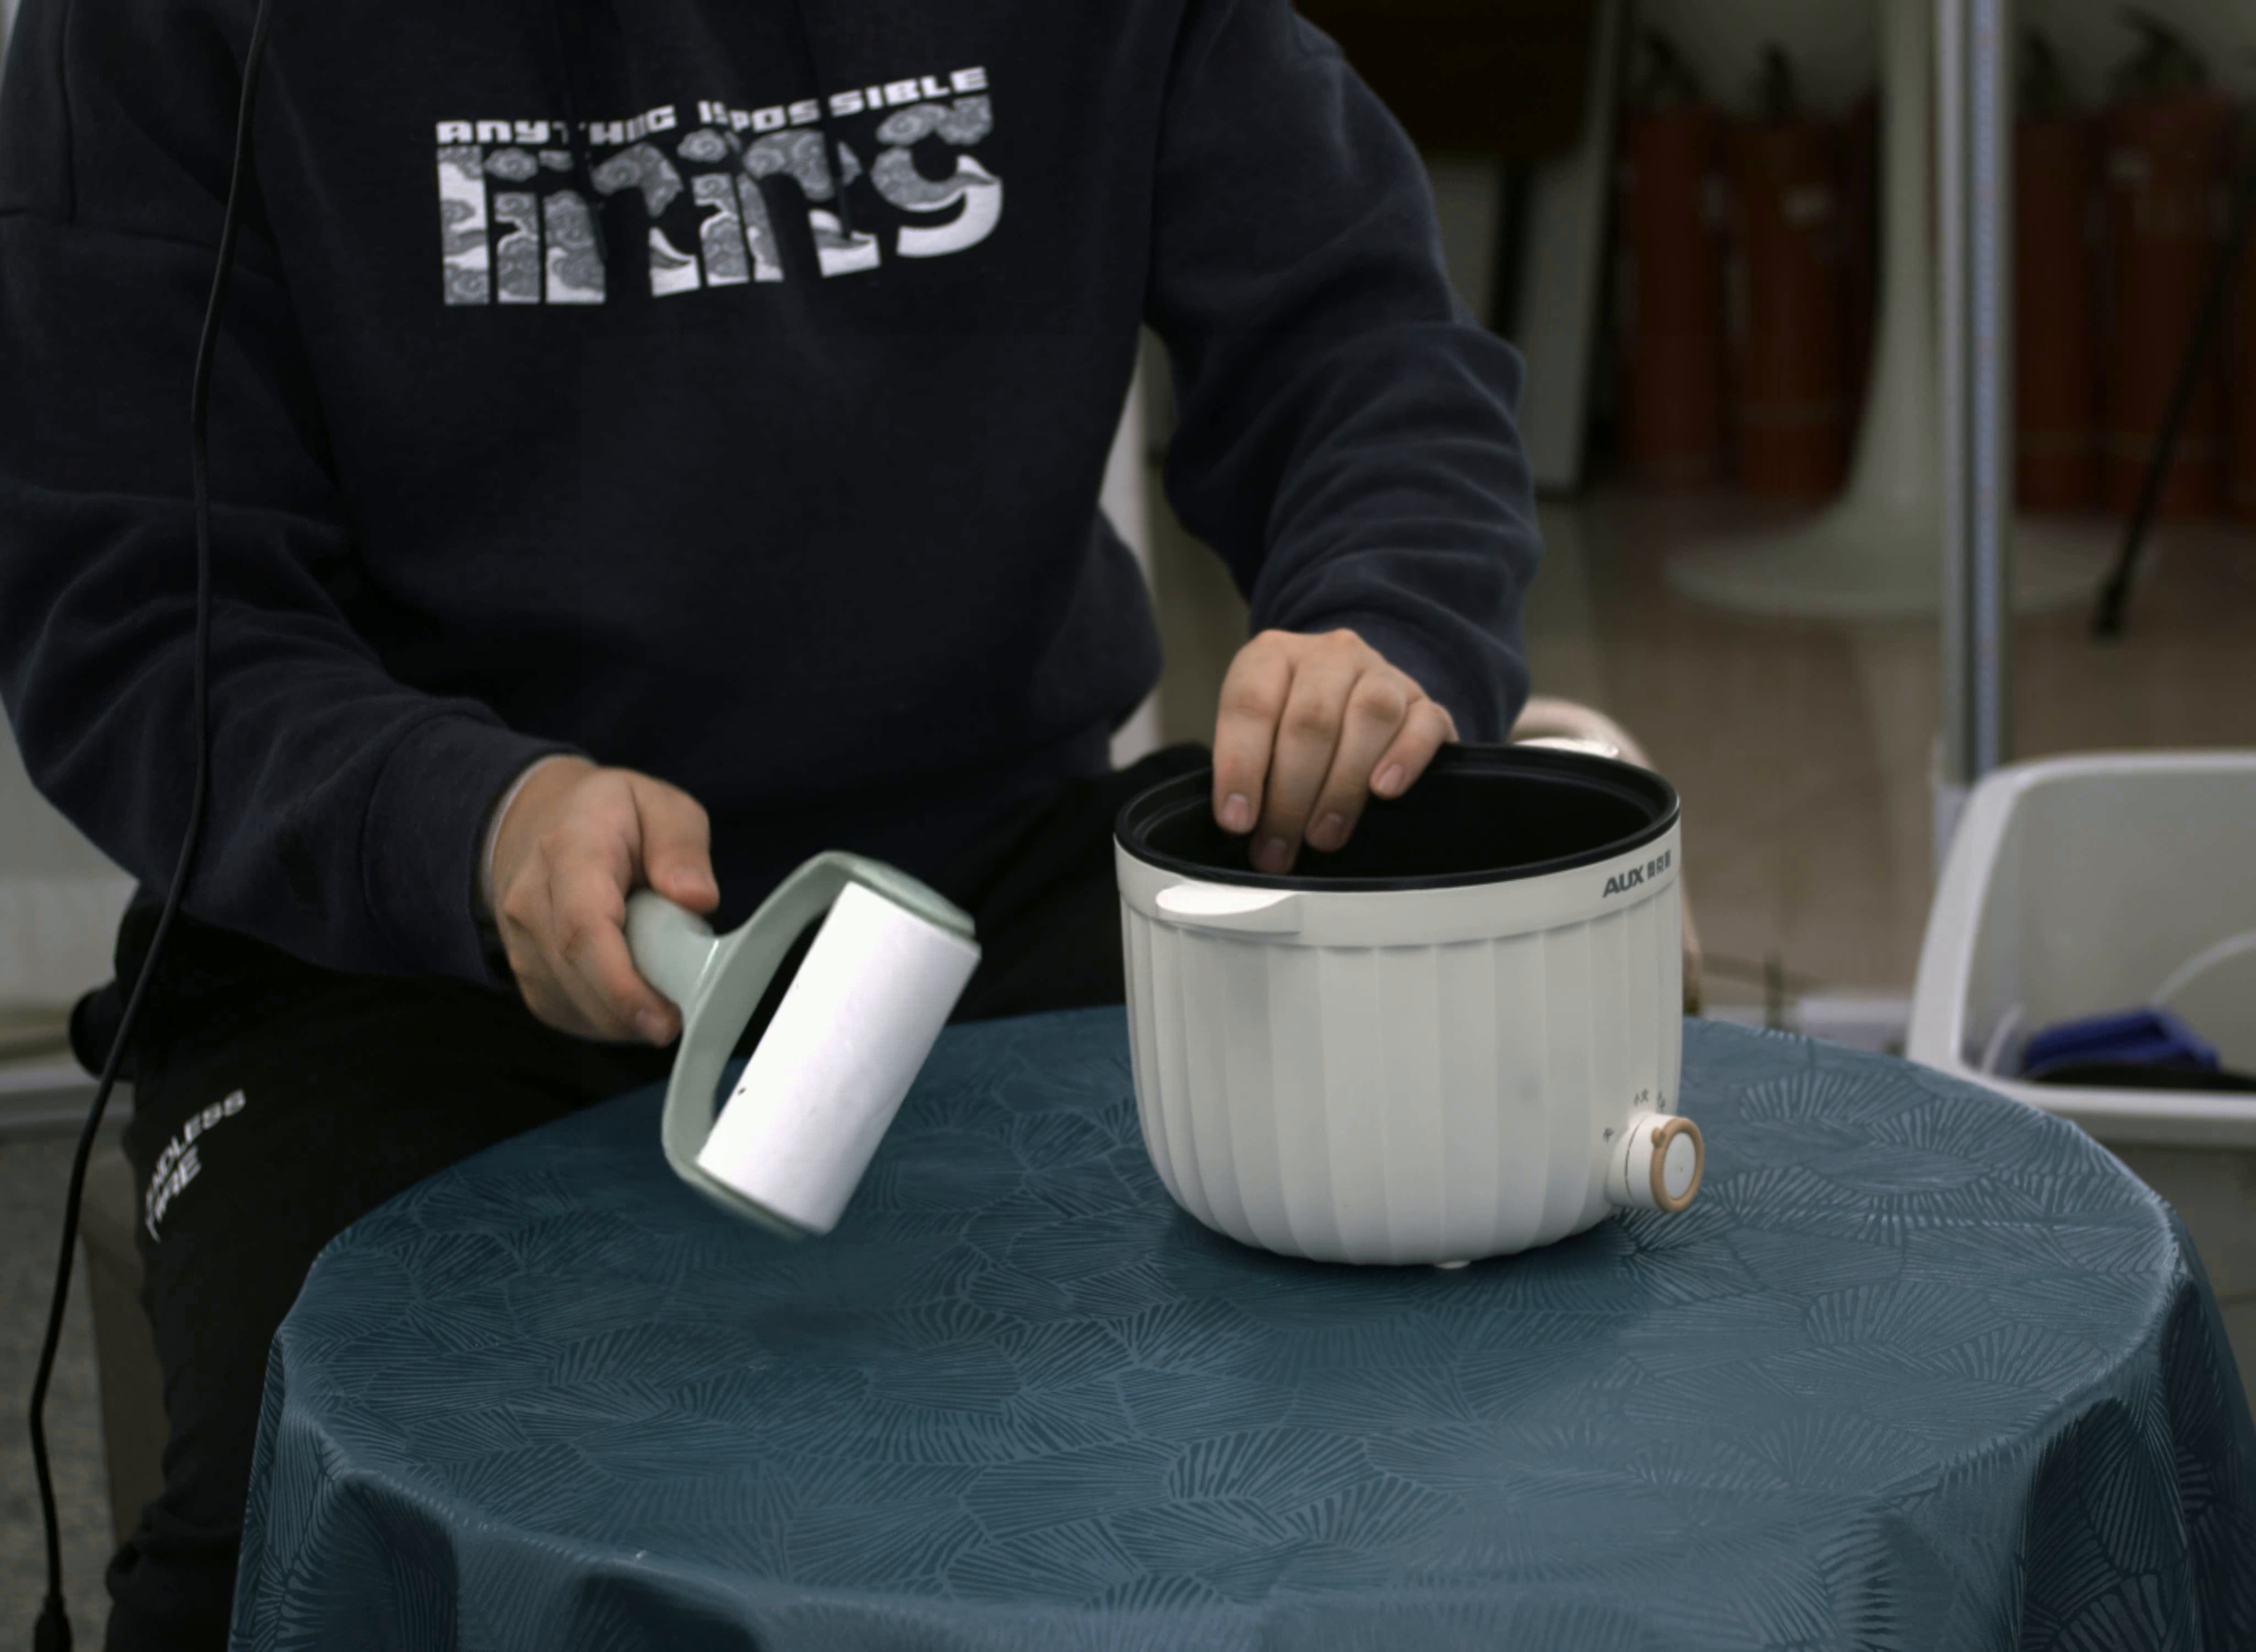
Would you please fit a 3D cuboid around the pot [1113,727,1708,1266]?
[{"bbox_3d":[0.094,0.056,1.718,0.192,0.144,0.236,3,16,36],"label":"pot"}]

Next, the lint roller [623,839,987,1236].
[{"bbox_3d":[-0.121,0.049,1.703,0.047,0.117,0.200,29,-1,-33],"label":"lint roller"}]
